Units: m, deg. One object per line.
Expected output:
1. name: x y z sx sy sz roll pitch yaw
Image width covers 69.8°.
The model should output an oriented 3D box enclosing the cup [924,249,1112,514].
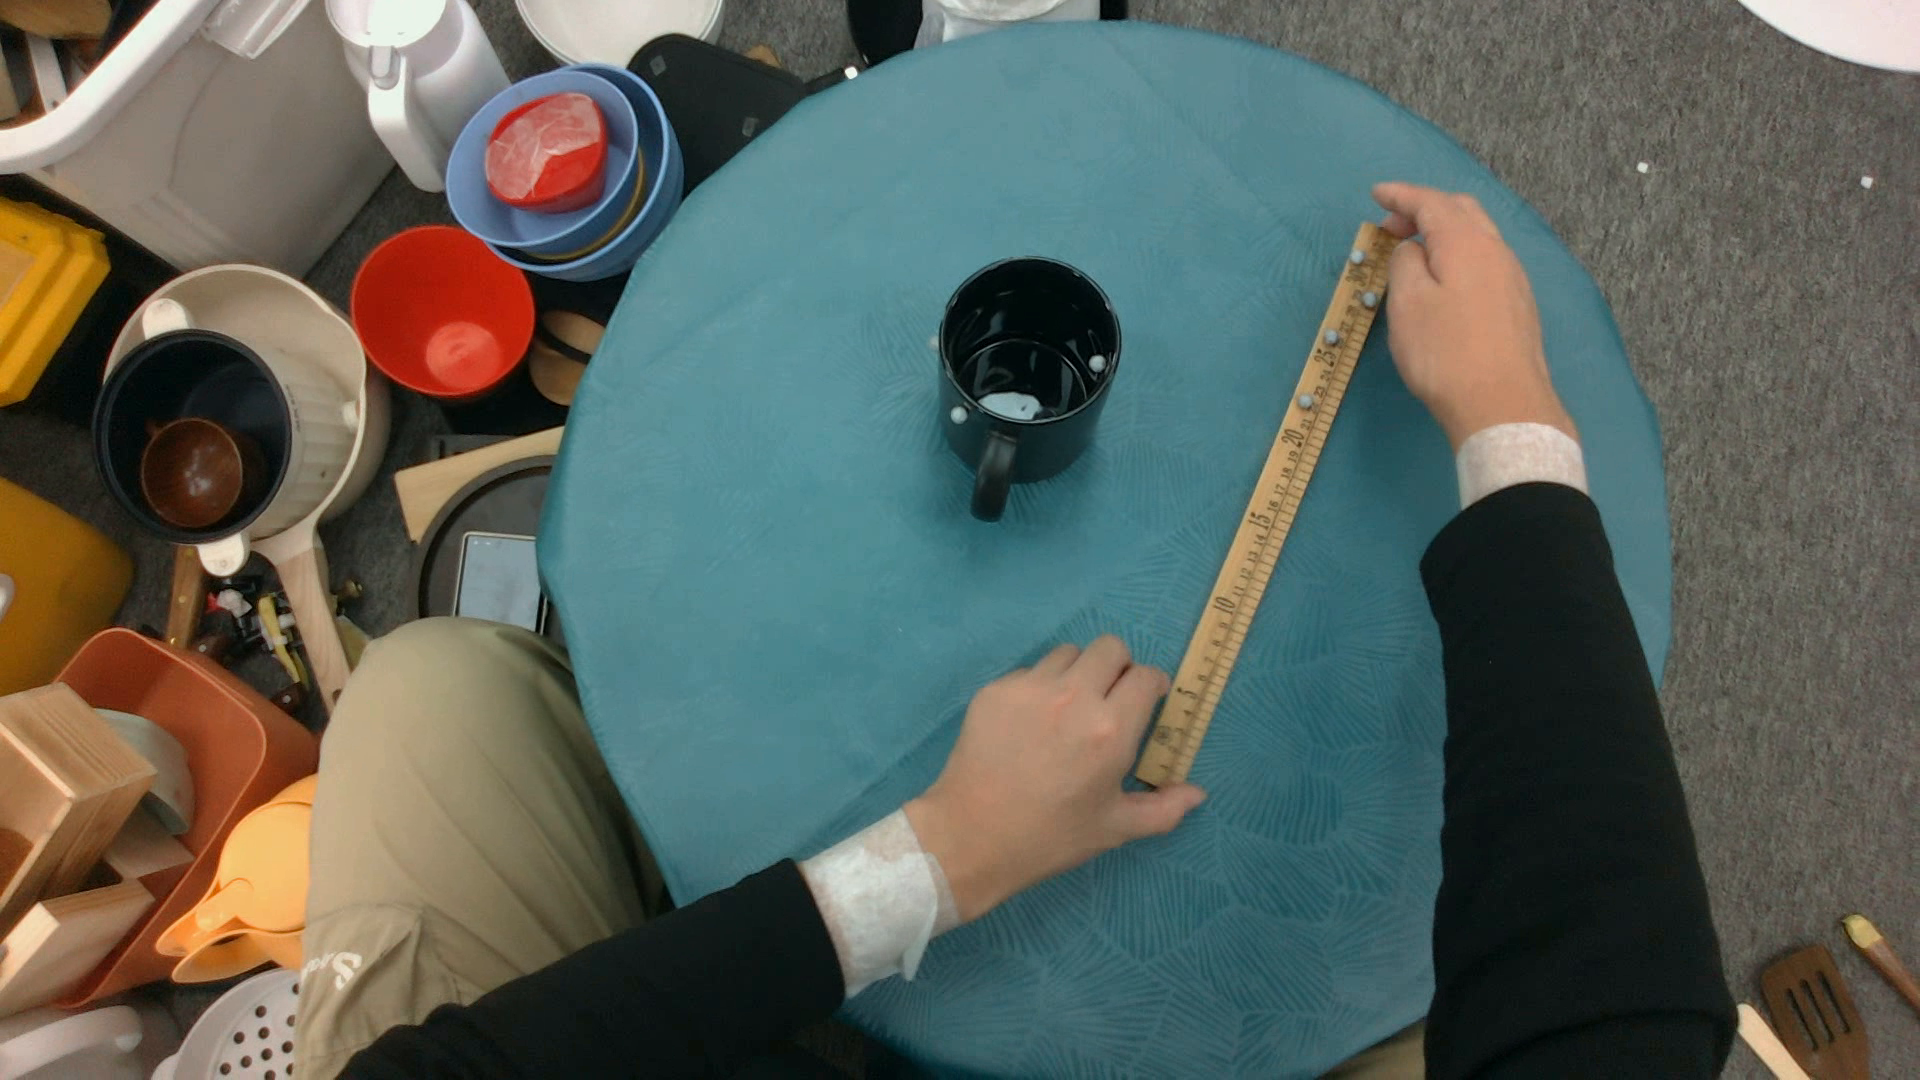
1. cup: 0.021 -0.072 0.702 0.088 0.105 0.124 17 76 1

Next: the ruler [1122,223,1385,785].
1. ruler: 0.162 -0.027 0.737 0.027 0.022 0.332 23 78 7
